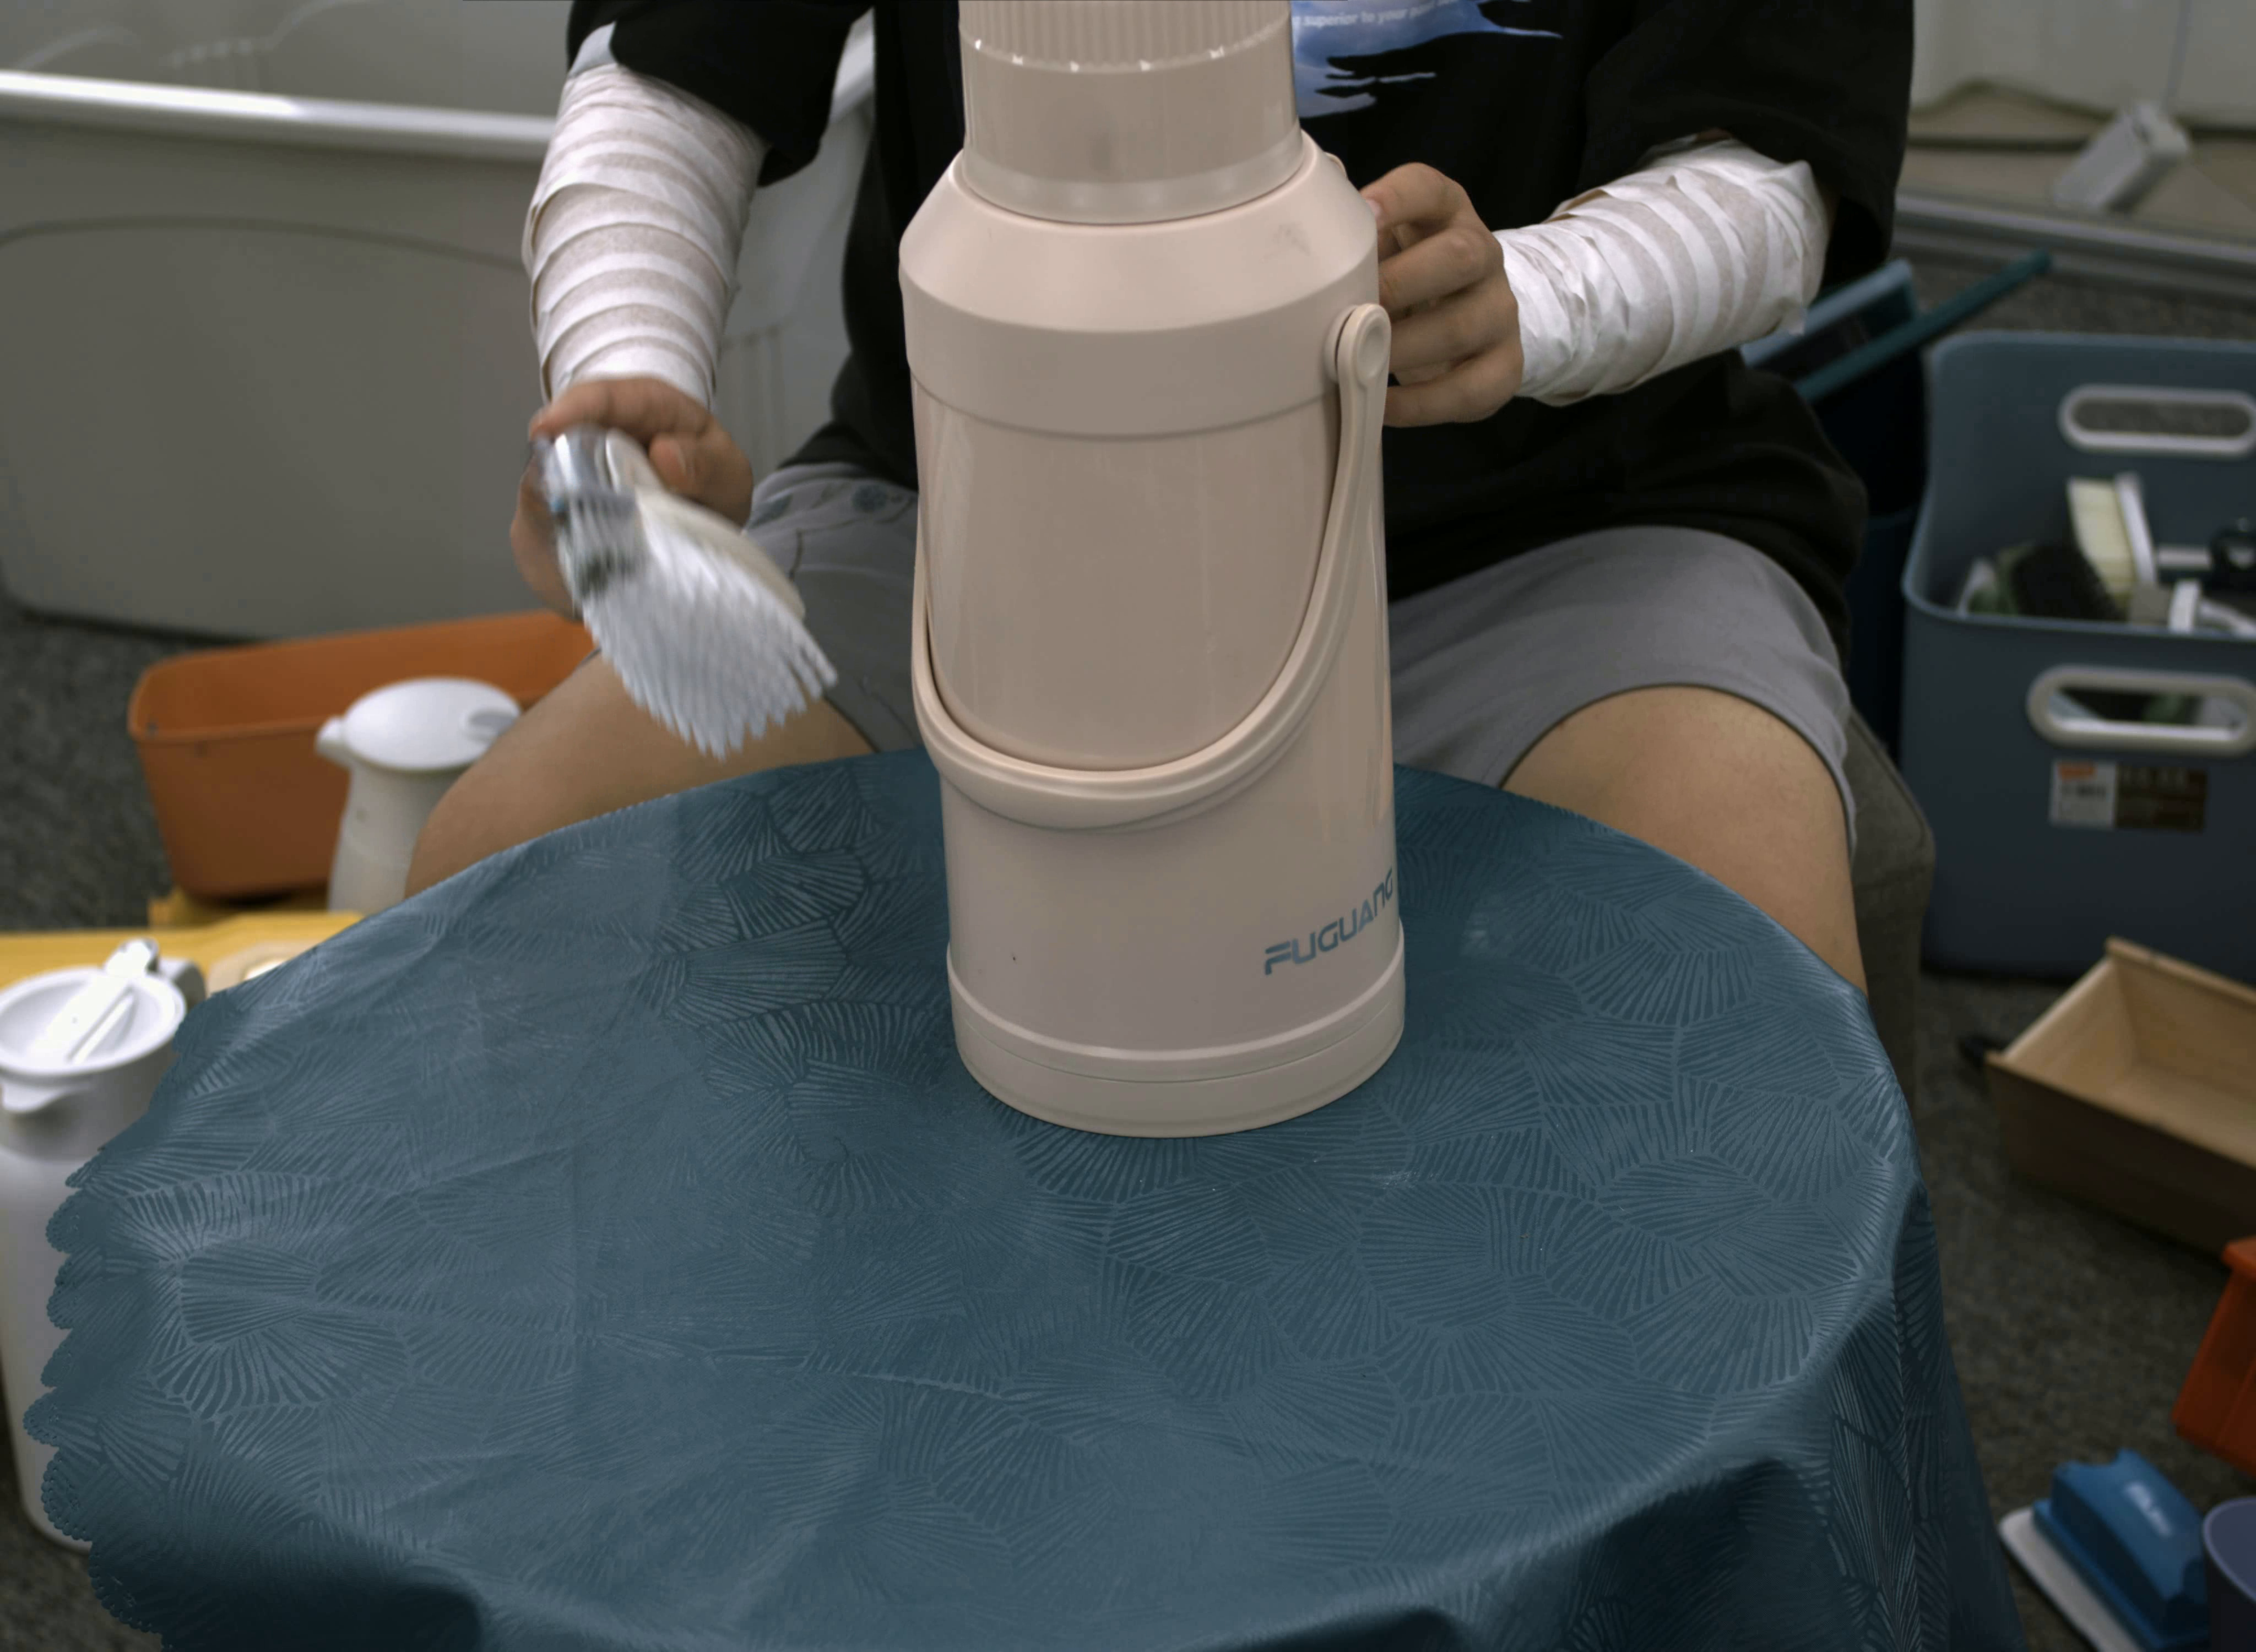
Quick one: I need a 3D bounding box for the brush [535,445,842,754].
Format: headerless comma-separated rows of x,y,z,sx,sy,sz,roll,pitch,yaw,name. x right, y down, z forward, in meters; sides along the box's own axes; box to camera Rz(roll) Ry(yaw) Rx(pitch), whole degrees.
-0.162,-0.090,1.910,0.061,0.175,0.095,-35,70,7,brush

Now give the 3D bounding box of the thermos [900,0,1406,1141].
0.017,-0.111,1.886,0.174,0.402,0.210,11,29,30,thermos
